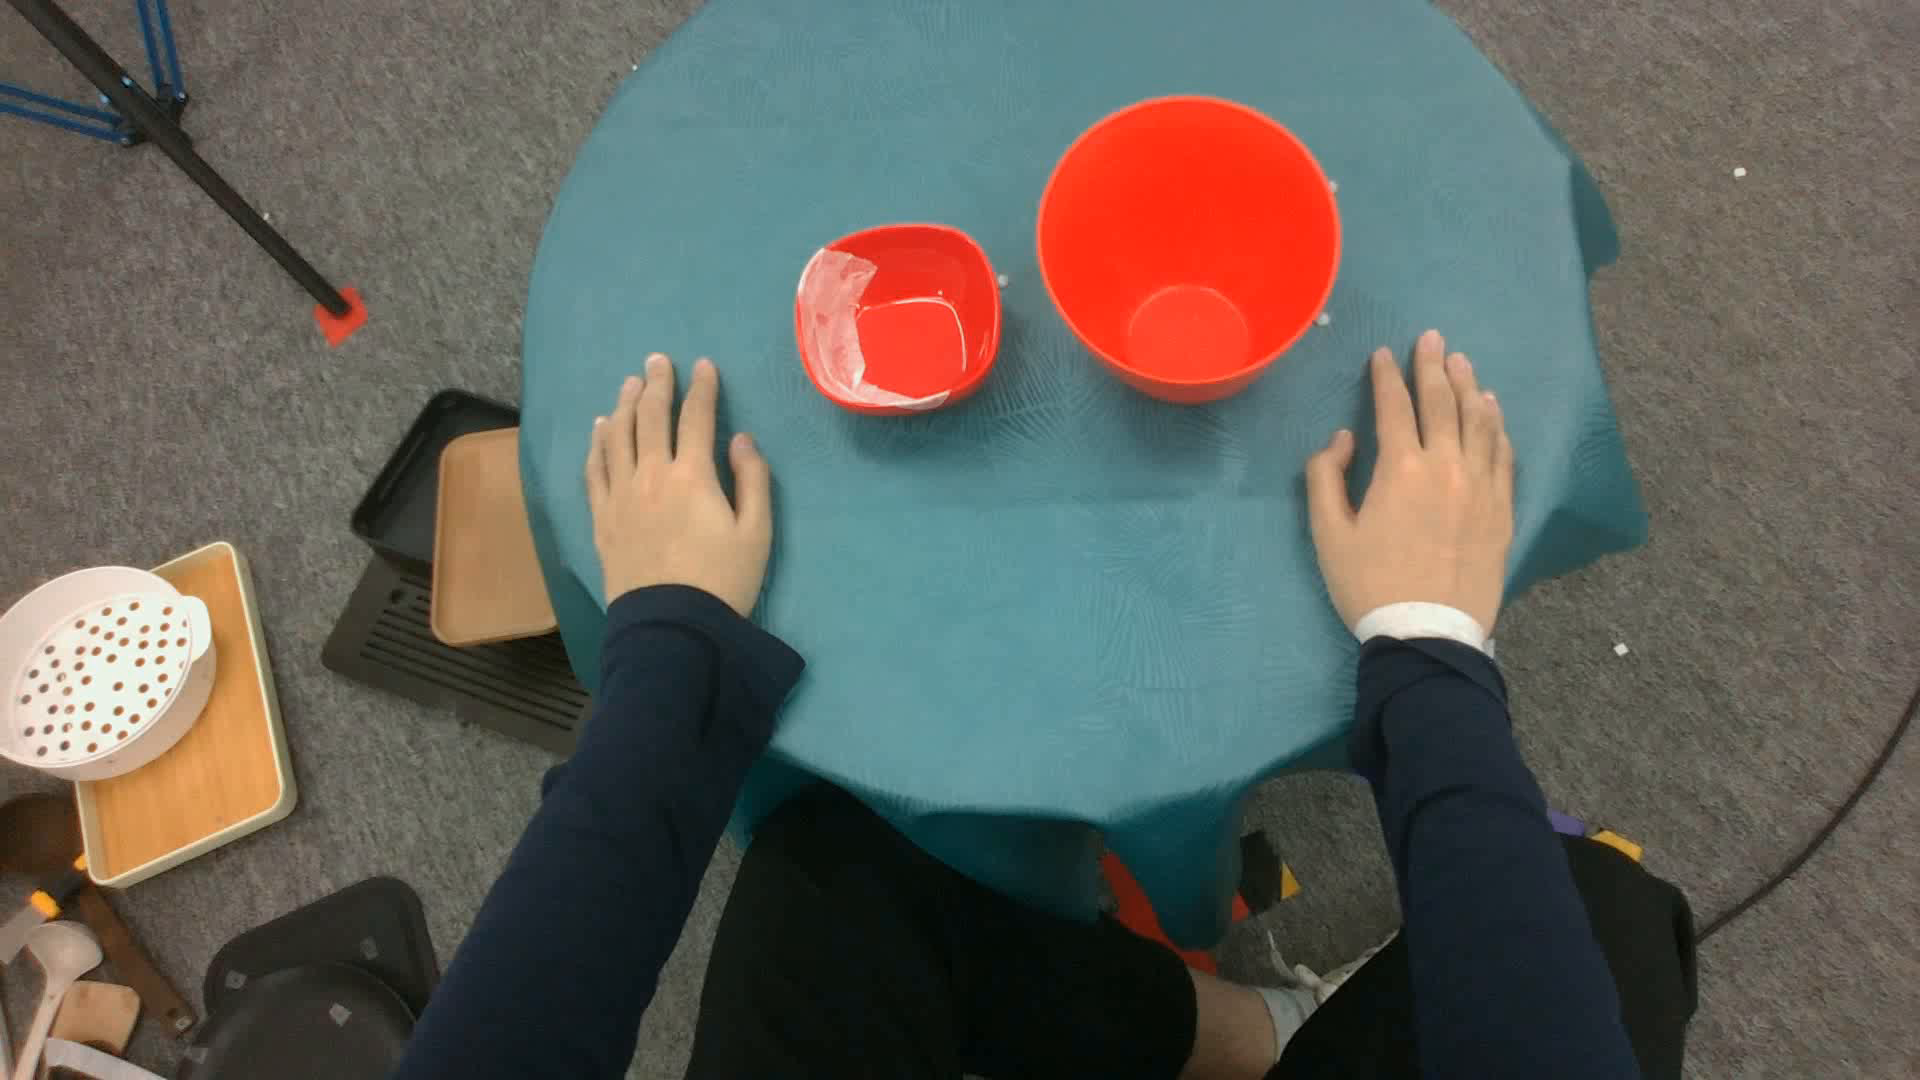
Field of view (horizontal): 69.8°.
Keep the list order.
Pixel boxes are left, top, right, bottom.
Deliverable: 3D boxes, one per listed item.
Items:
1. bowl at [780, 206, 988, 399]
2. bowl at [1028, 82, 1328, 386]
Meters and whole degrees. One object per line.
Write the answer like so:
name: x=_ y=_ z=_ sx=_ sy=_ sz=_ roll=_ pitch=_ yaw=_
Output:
bowl: x=-0.038 y=-0.121 z=0.750 sx=0.119 sy=0.051 sz=0.119 roll=-1 pitch=69 yaw=4
bowl: x=0.111 y=-0.145 z=0.717 sx=0.148 sy=0.104 sz=0.148 roll=-2 pitch=69 yaw=4
